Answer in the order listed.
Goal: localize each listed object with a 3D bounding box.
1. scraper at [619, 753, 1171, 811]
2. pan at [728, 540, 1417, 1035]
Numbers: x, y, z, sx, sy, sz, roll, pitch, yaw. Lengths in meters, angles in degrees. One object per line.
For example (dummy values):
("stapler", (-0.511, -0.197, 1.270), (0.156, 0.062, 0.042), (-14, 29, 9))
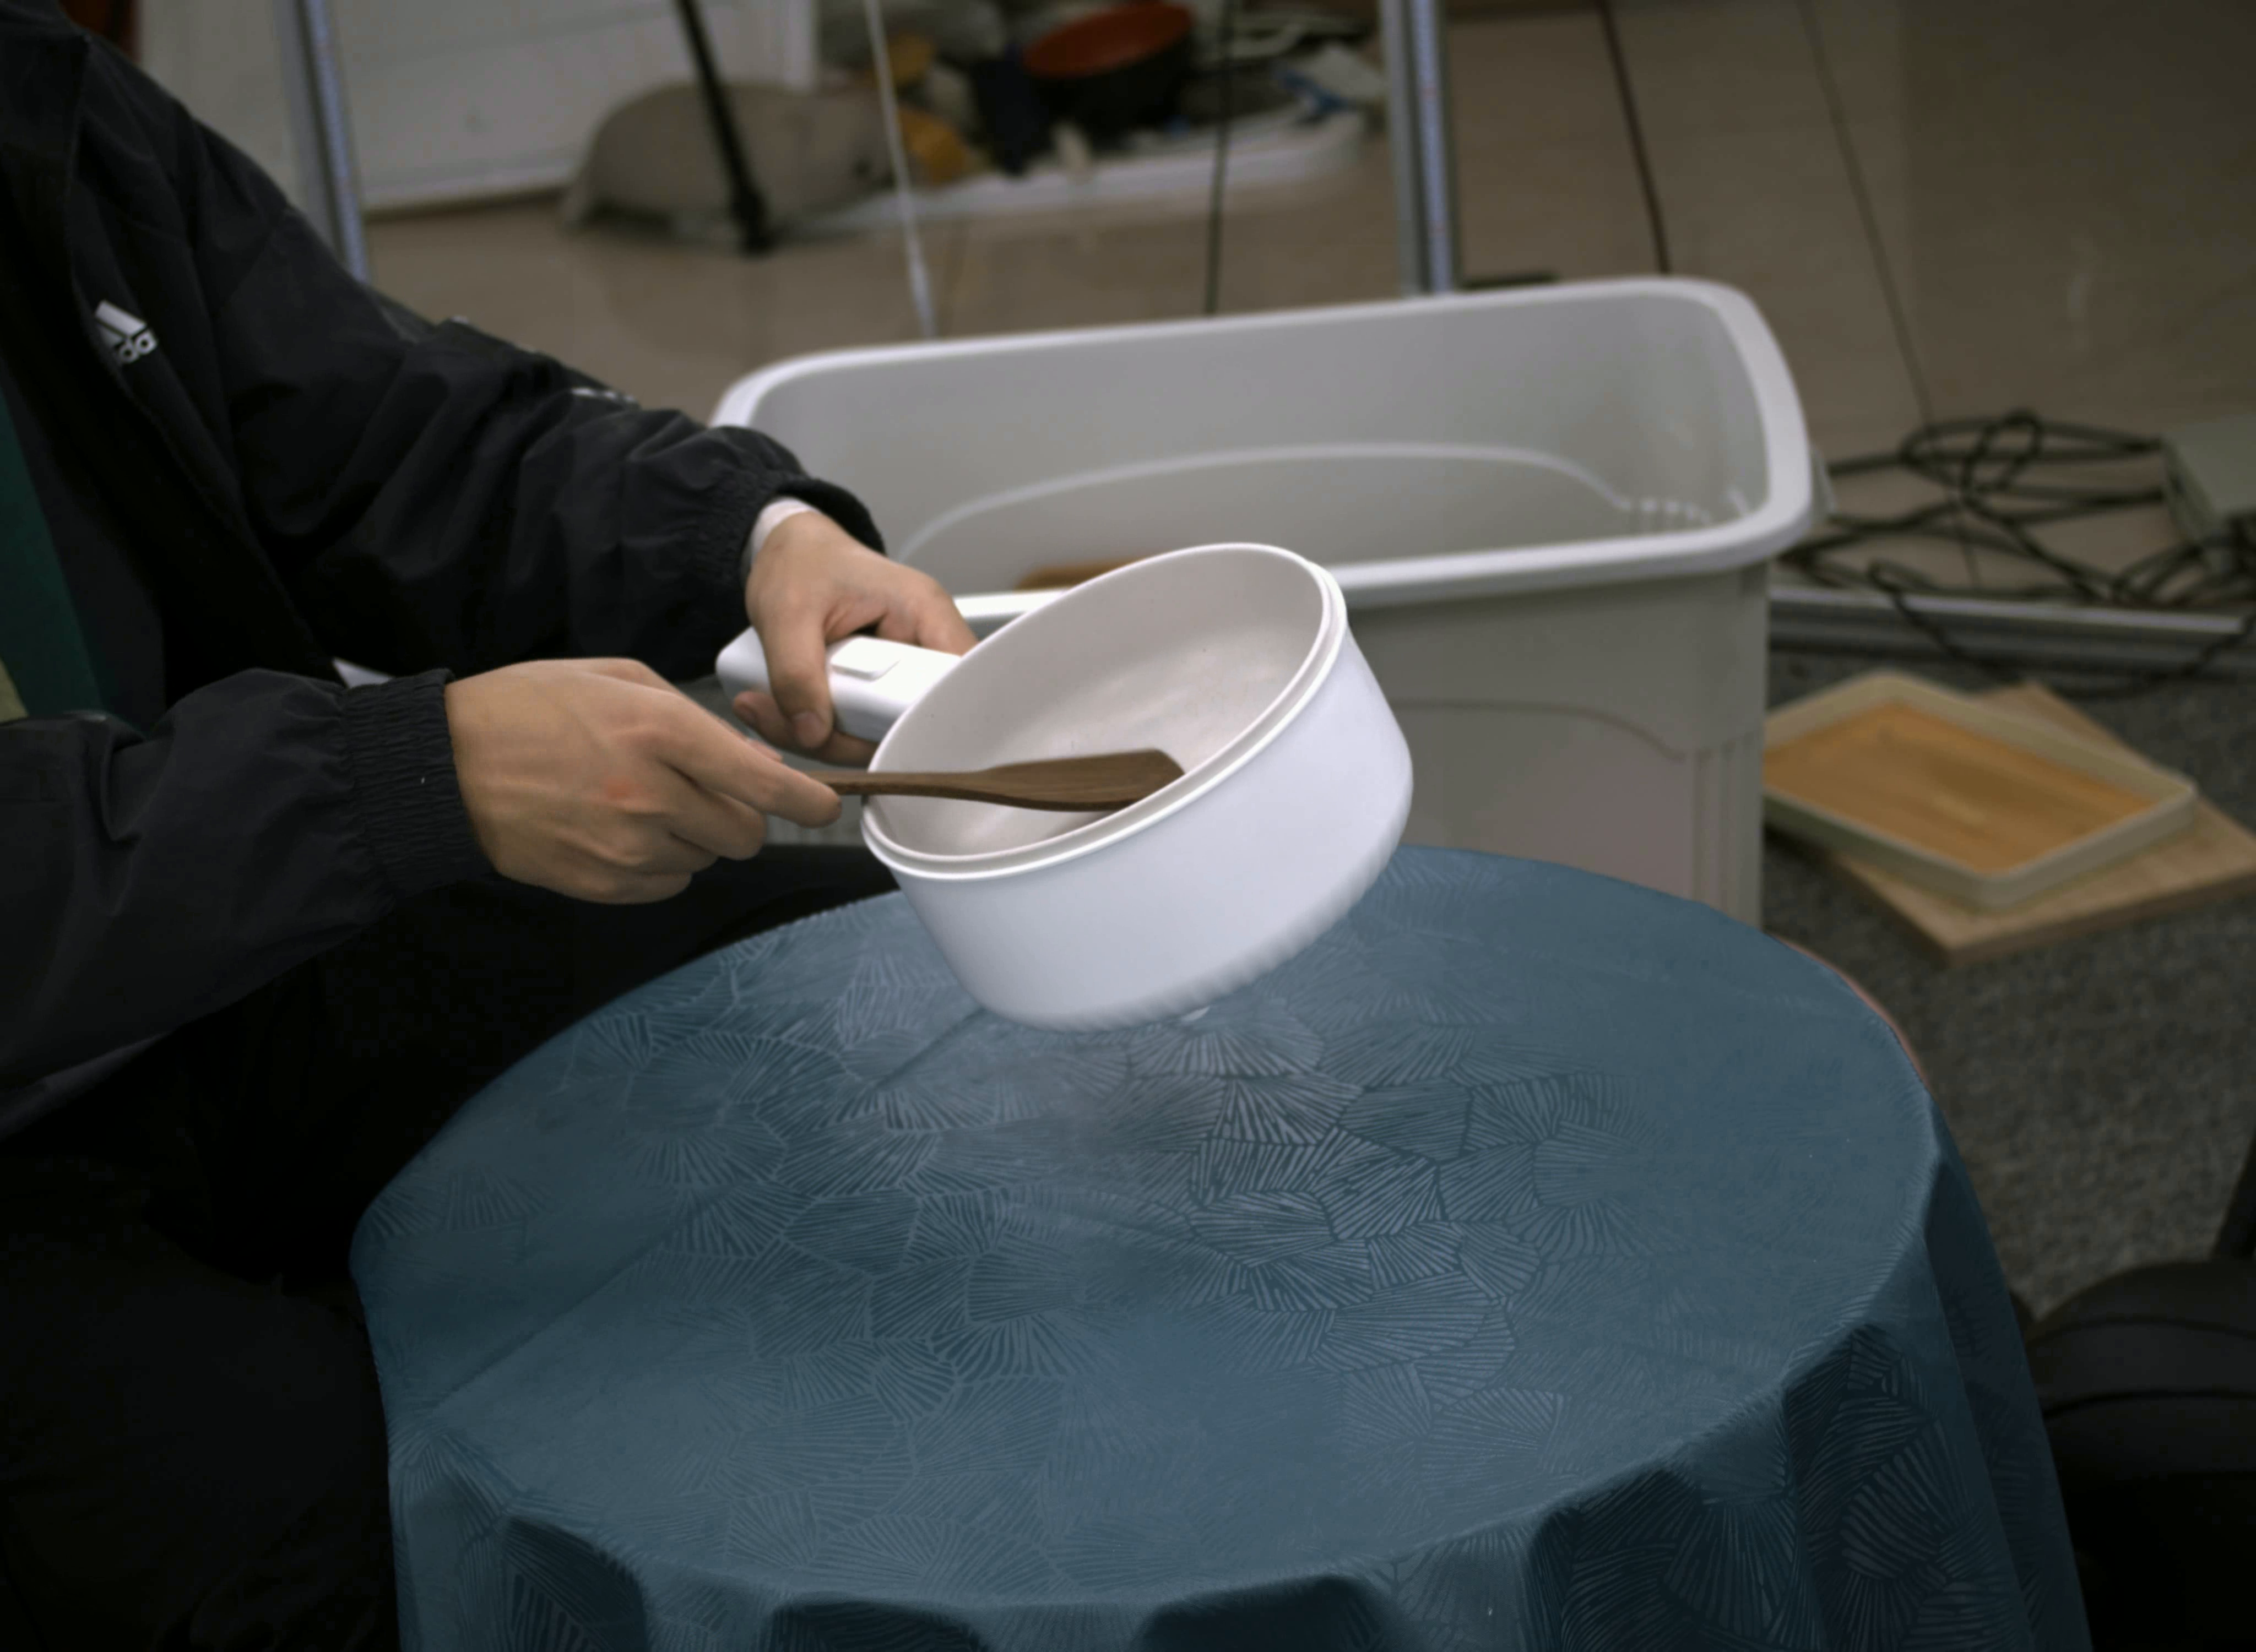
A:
("scraper", (-0.085, -0.015, 2.127), (0.211, 0.011, 0.075), (-1, 12, -7))
("pan", (-0.034, -0.019, 2.199), (0.199, 0.103, 0.353), (-43, 29, -23))
